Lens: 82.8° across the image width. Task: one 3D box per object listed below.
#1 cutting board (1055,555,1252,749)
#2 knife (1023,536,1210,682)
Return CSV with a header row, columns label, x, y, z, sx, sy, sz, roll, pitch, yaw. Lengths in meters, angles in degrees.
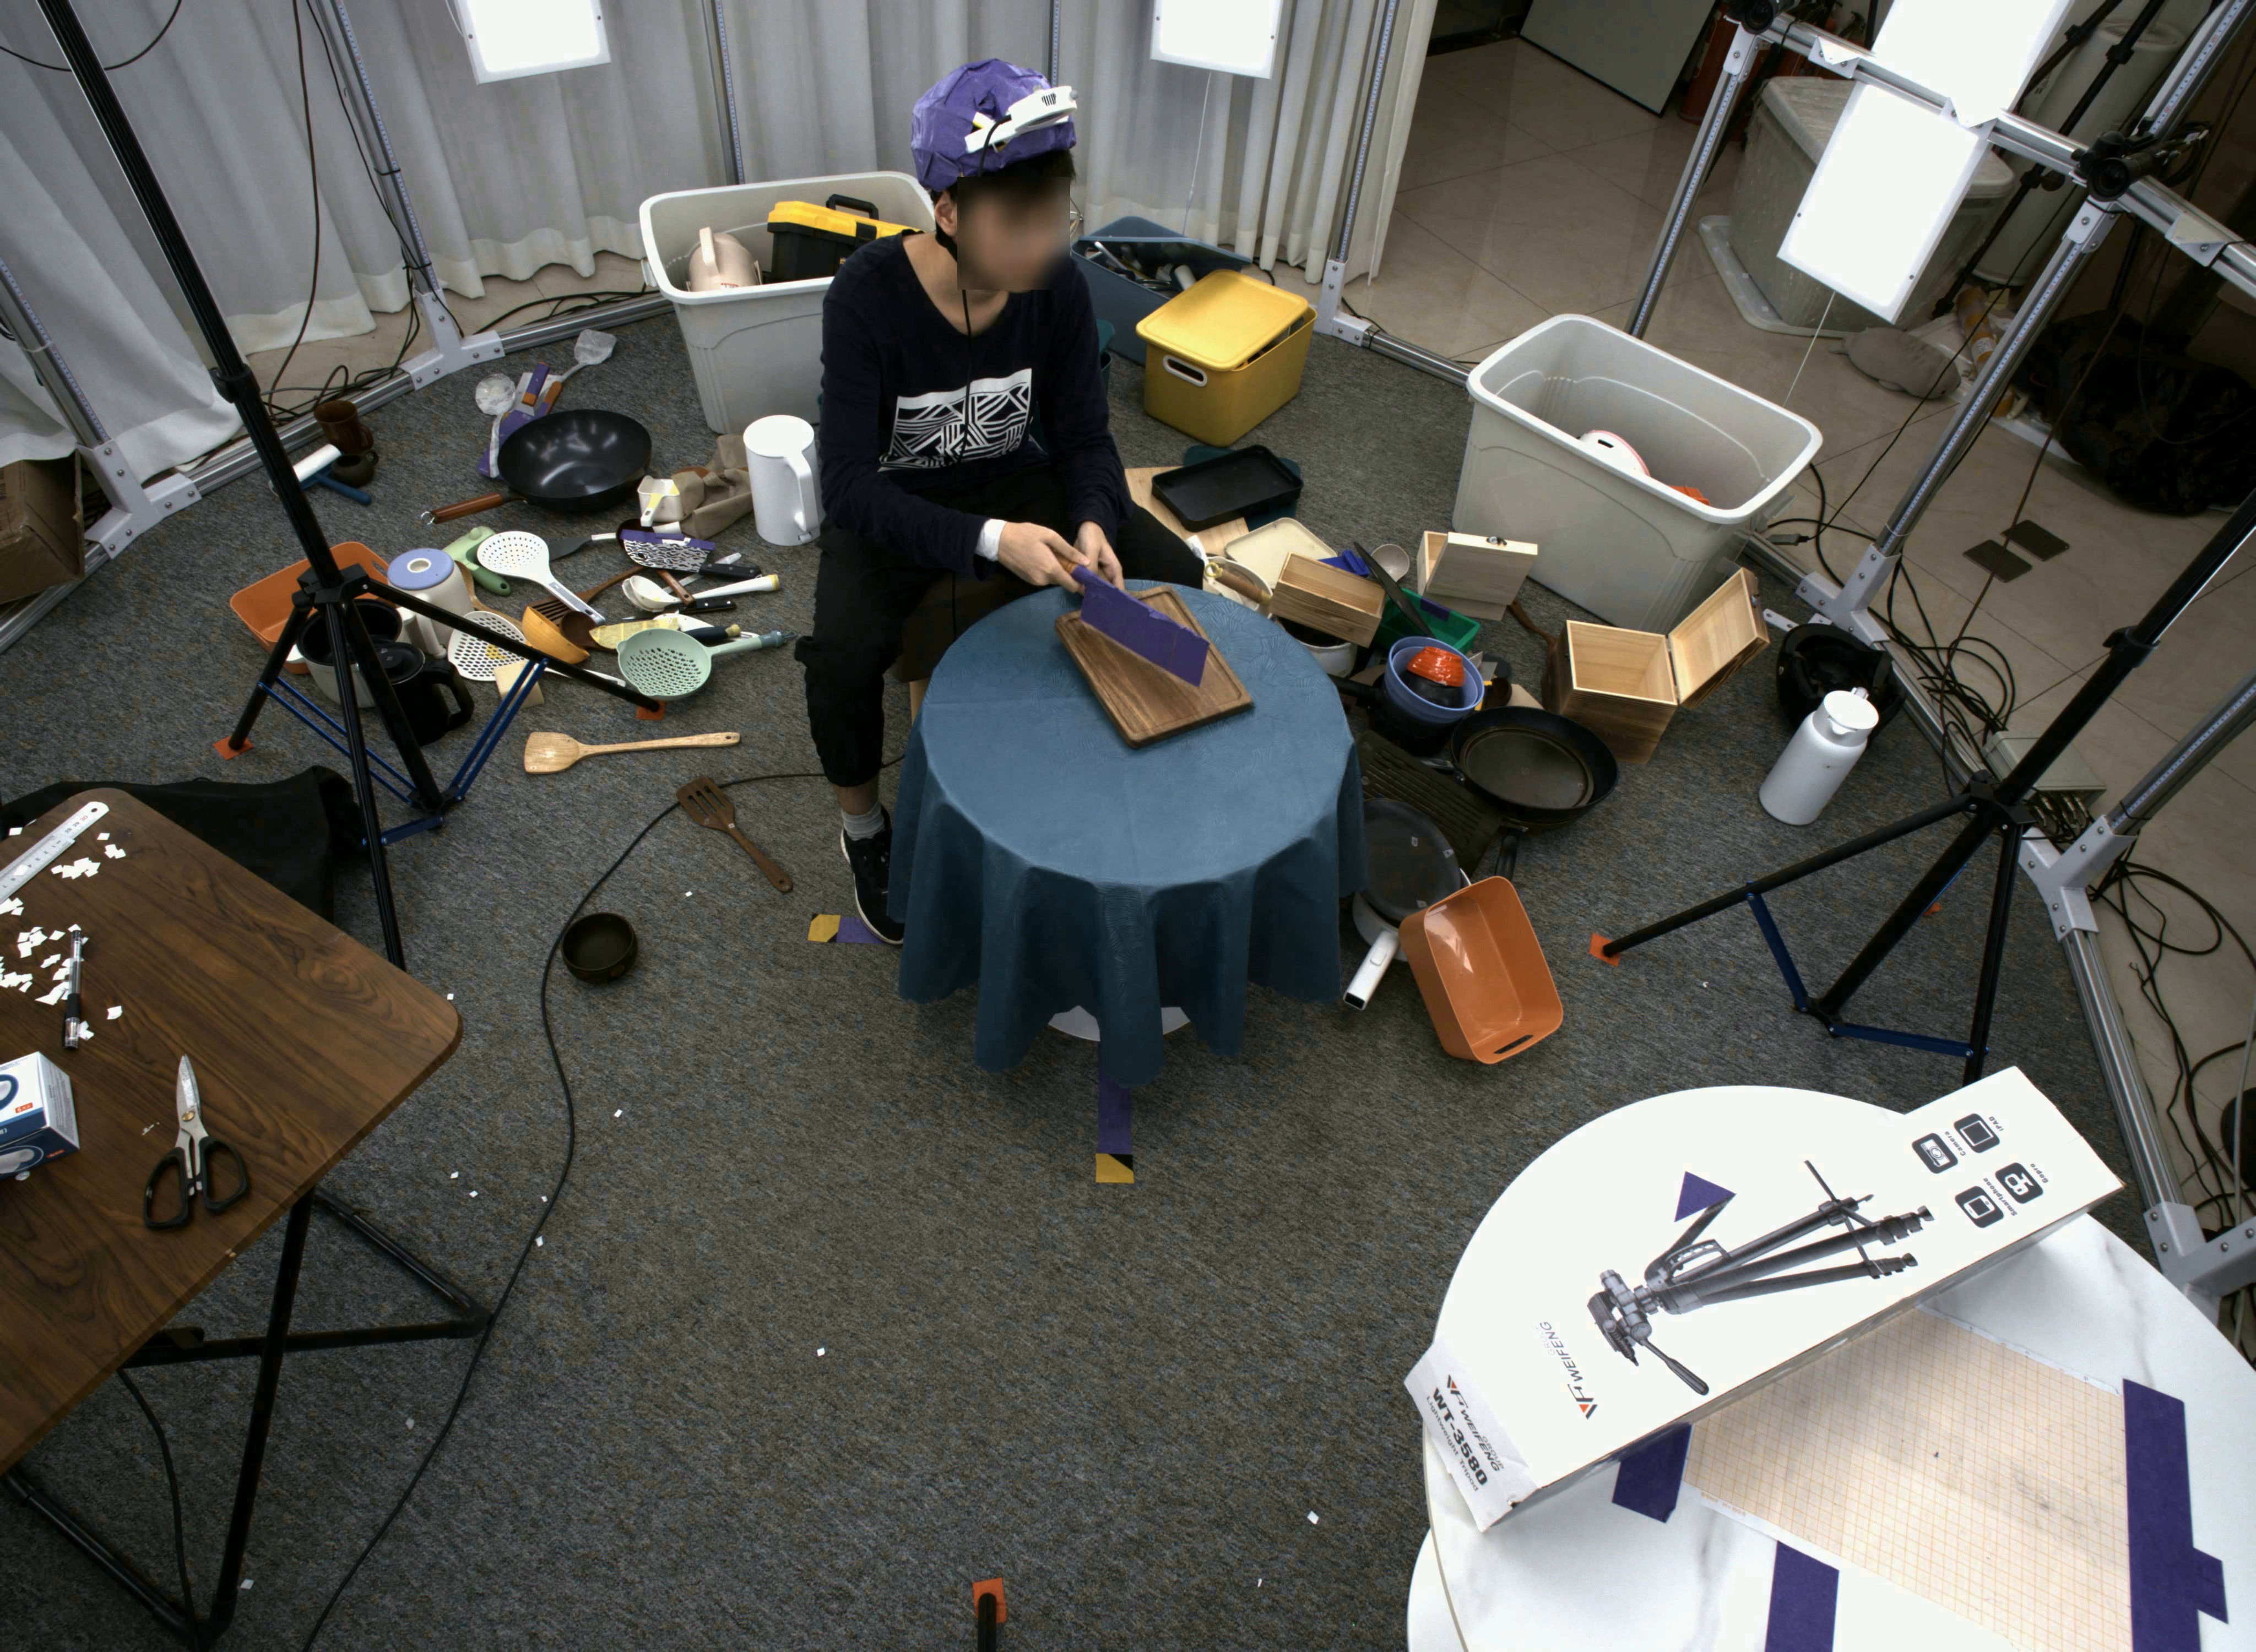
label,x,y,z,sx,sy,sz,roll,pitch,yaw
cutting board,0.012,-0.273,1.871,0.201,0.022,0.359,-20,58,-19
knife,-0.021,-0.302,1.818,0.318,0.101,0.032,34,52,19
